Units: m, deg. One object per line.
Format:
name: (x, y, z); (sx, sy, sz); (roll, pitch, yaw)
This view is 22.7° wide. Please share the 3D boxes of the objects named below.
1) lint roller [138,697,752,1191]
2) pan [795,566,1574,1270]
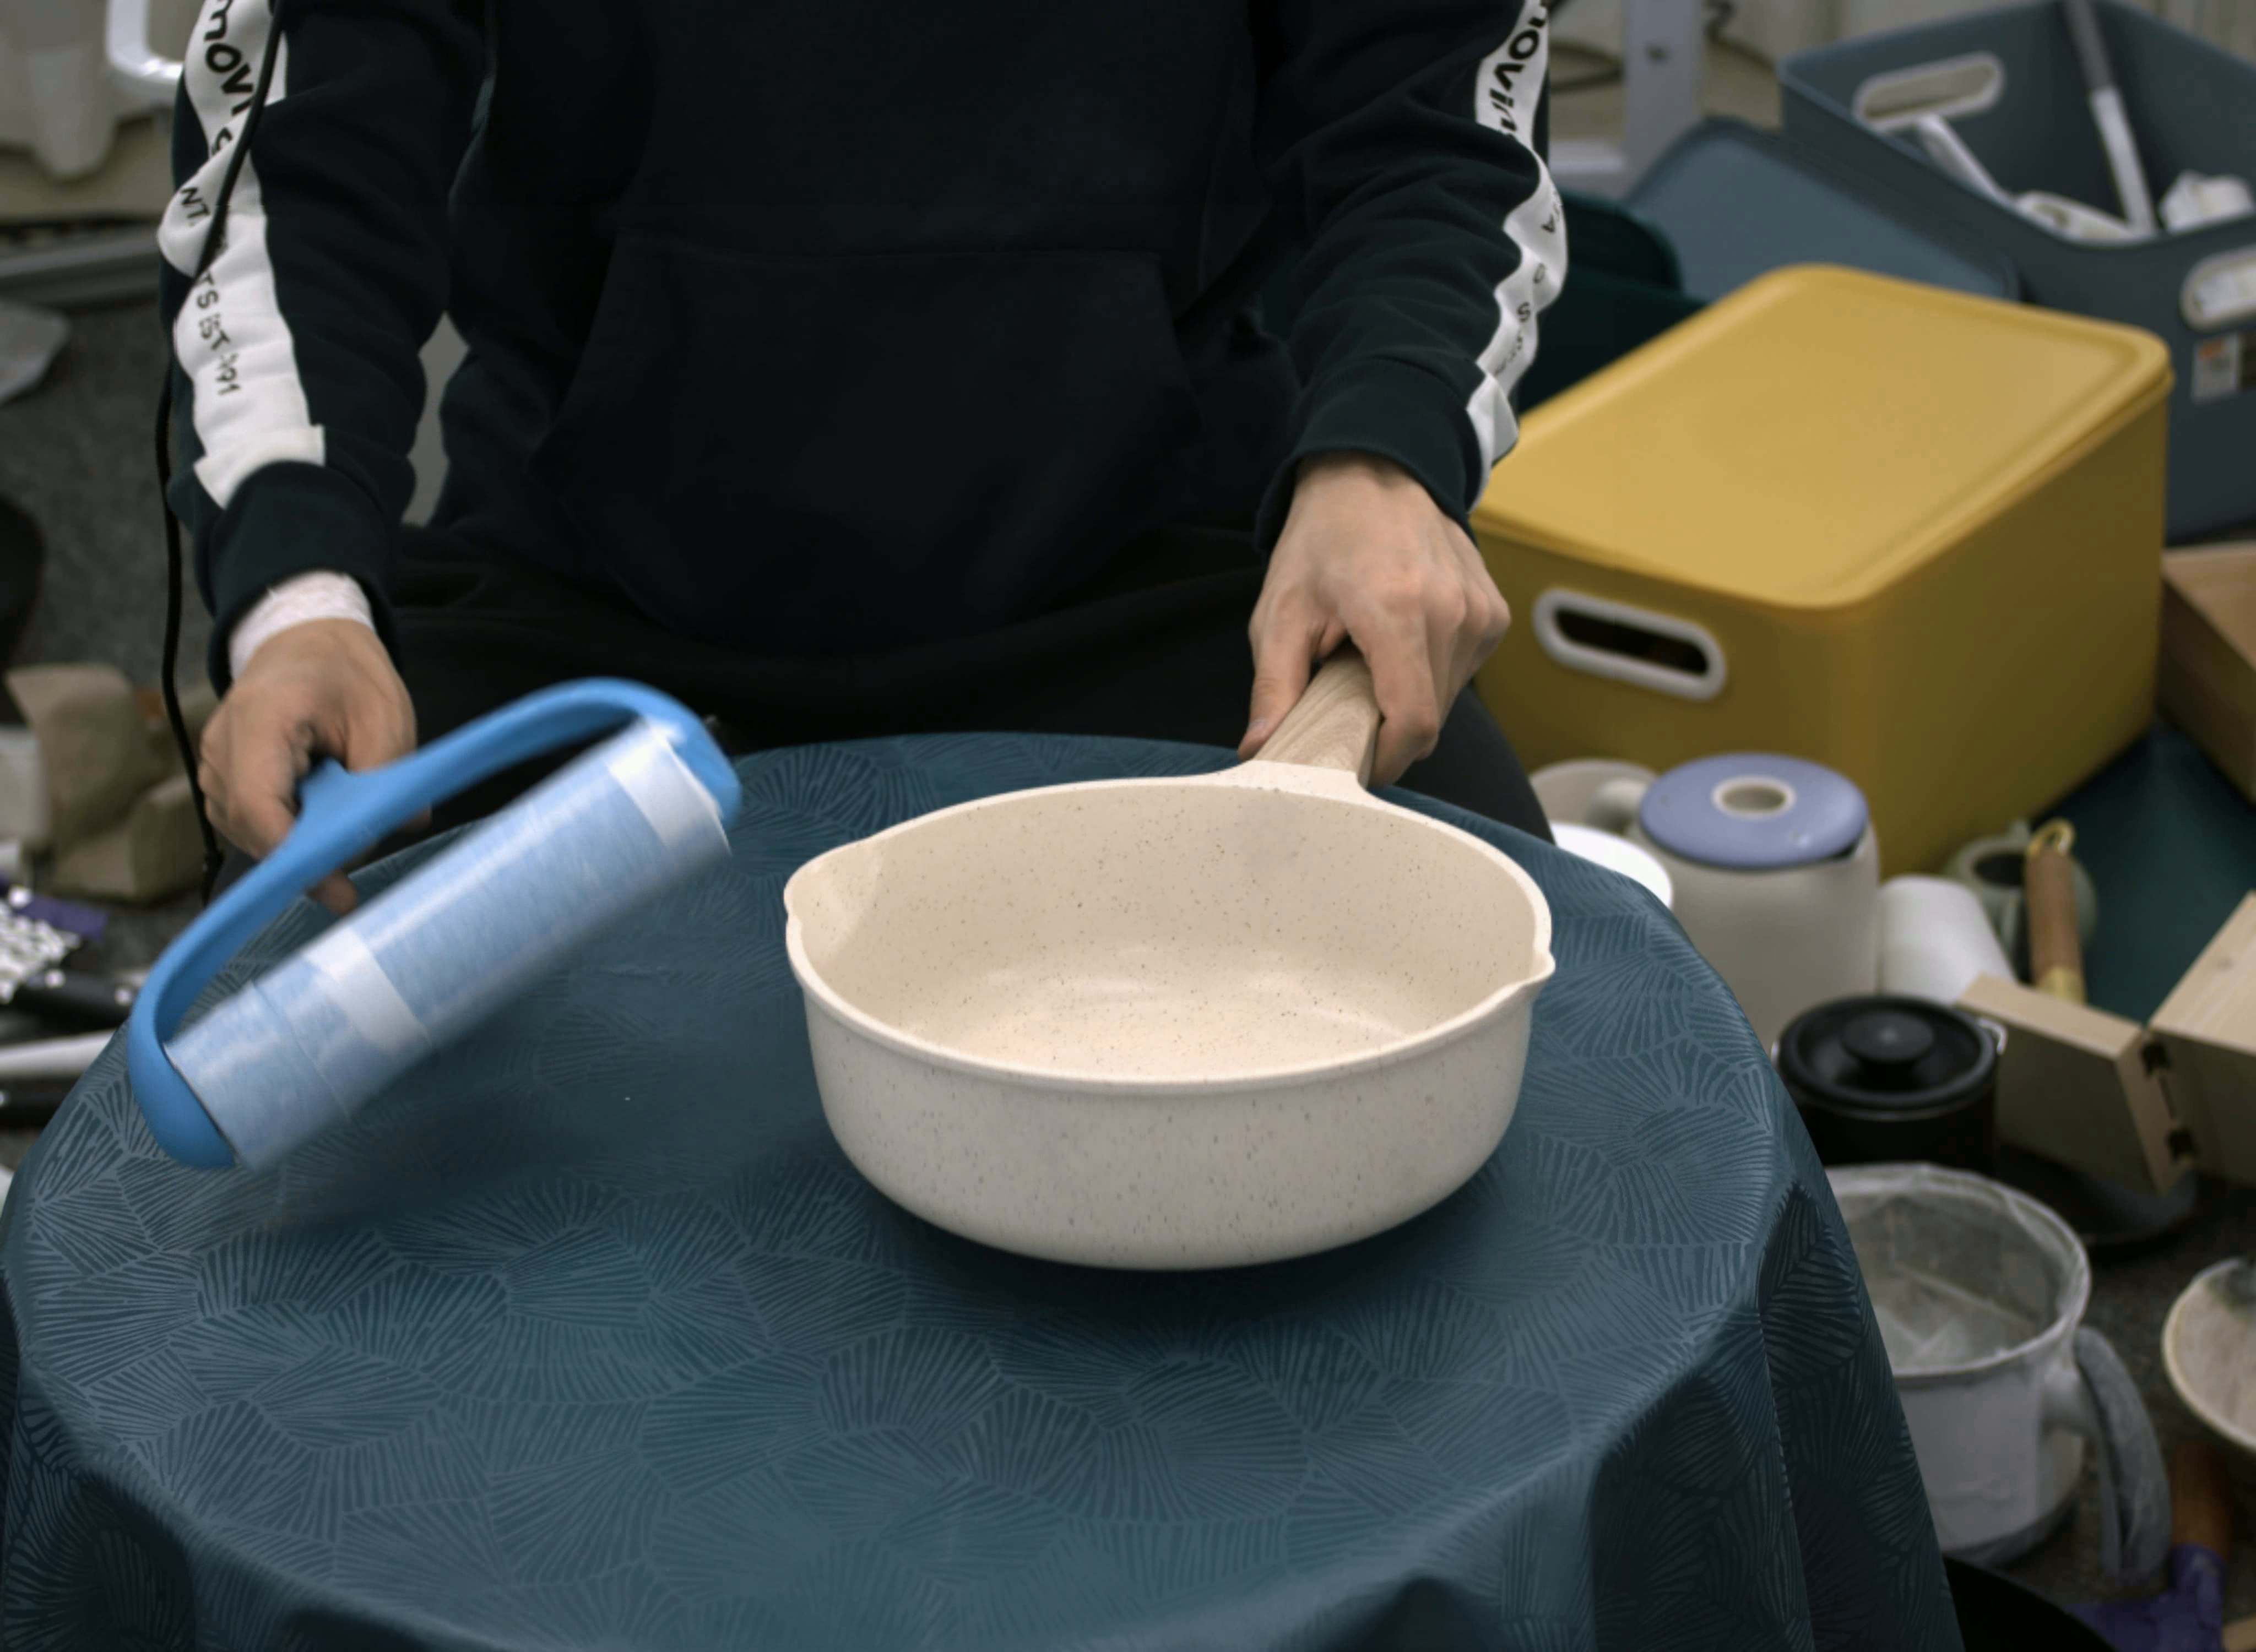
lint roller: (-0.253, 0.019, 1.904); (0.230, 0.067, 0.181); (-37, 41, -13)
pan: (0.047, 0.028, 1.928); (0.261, 0.101, 0.441); (6, 22, 17)
